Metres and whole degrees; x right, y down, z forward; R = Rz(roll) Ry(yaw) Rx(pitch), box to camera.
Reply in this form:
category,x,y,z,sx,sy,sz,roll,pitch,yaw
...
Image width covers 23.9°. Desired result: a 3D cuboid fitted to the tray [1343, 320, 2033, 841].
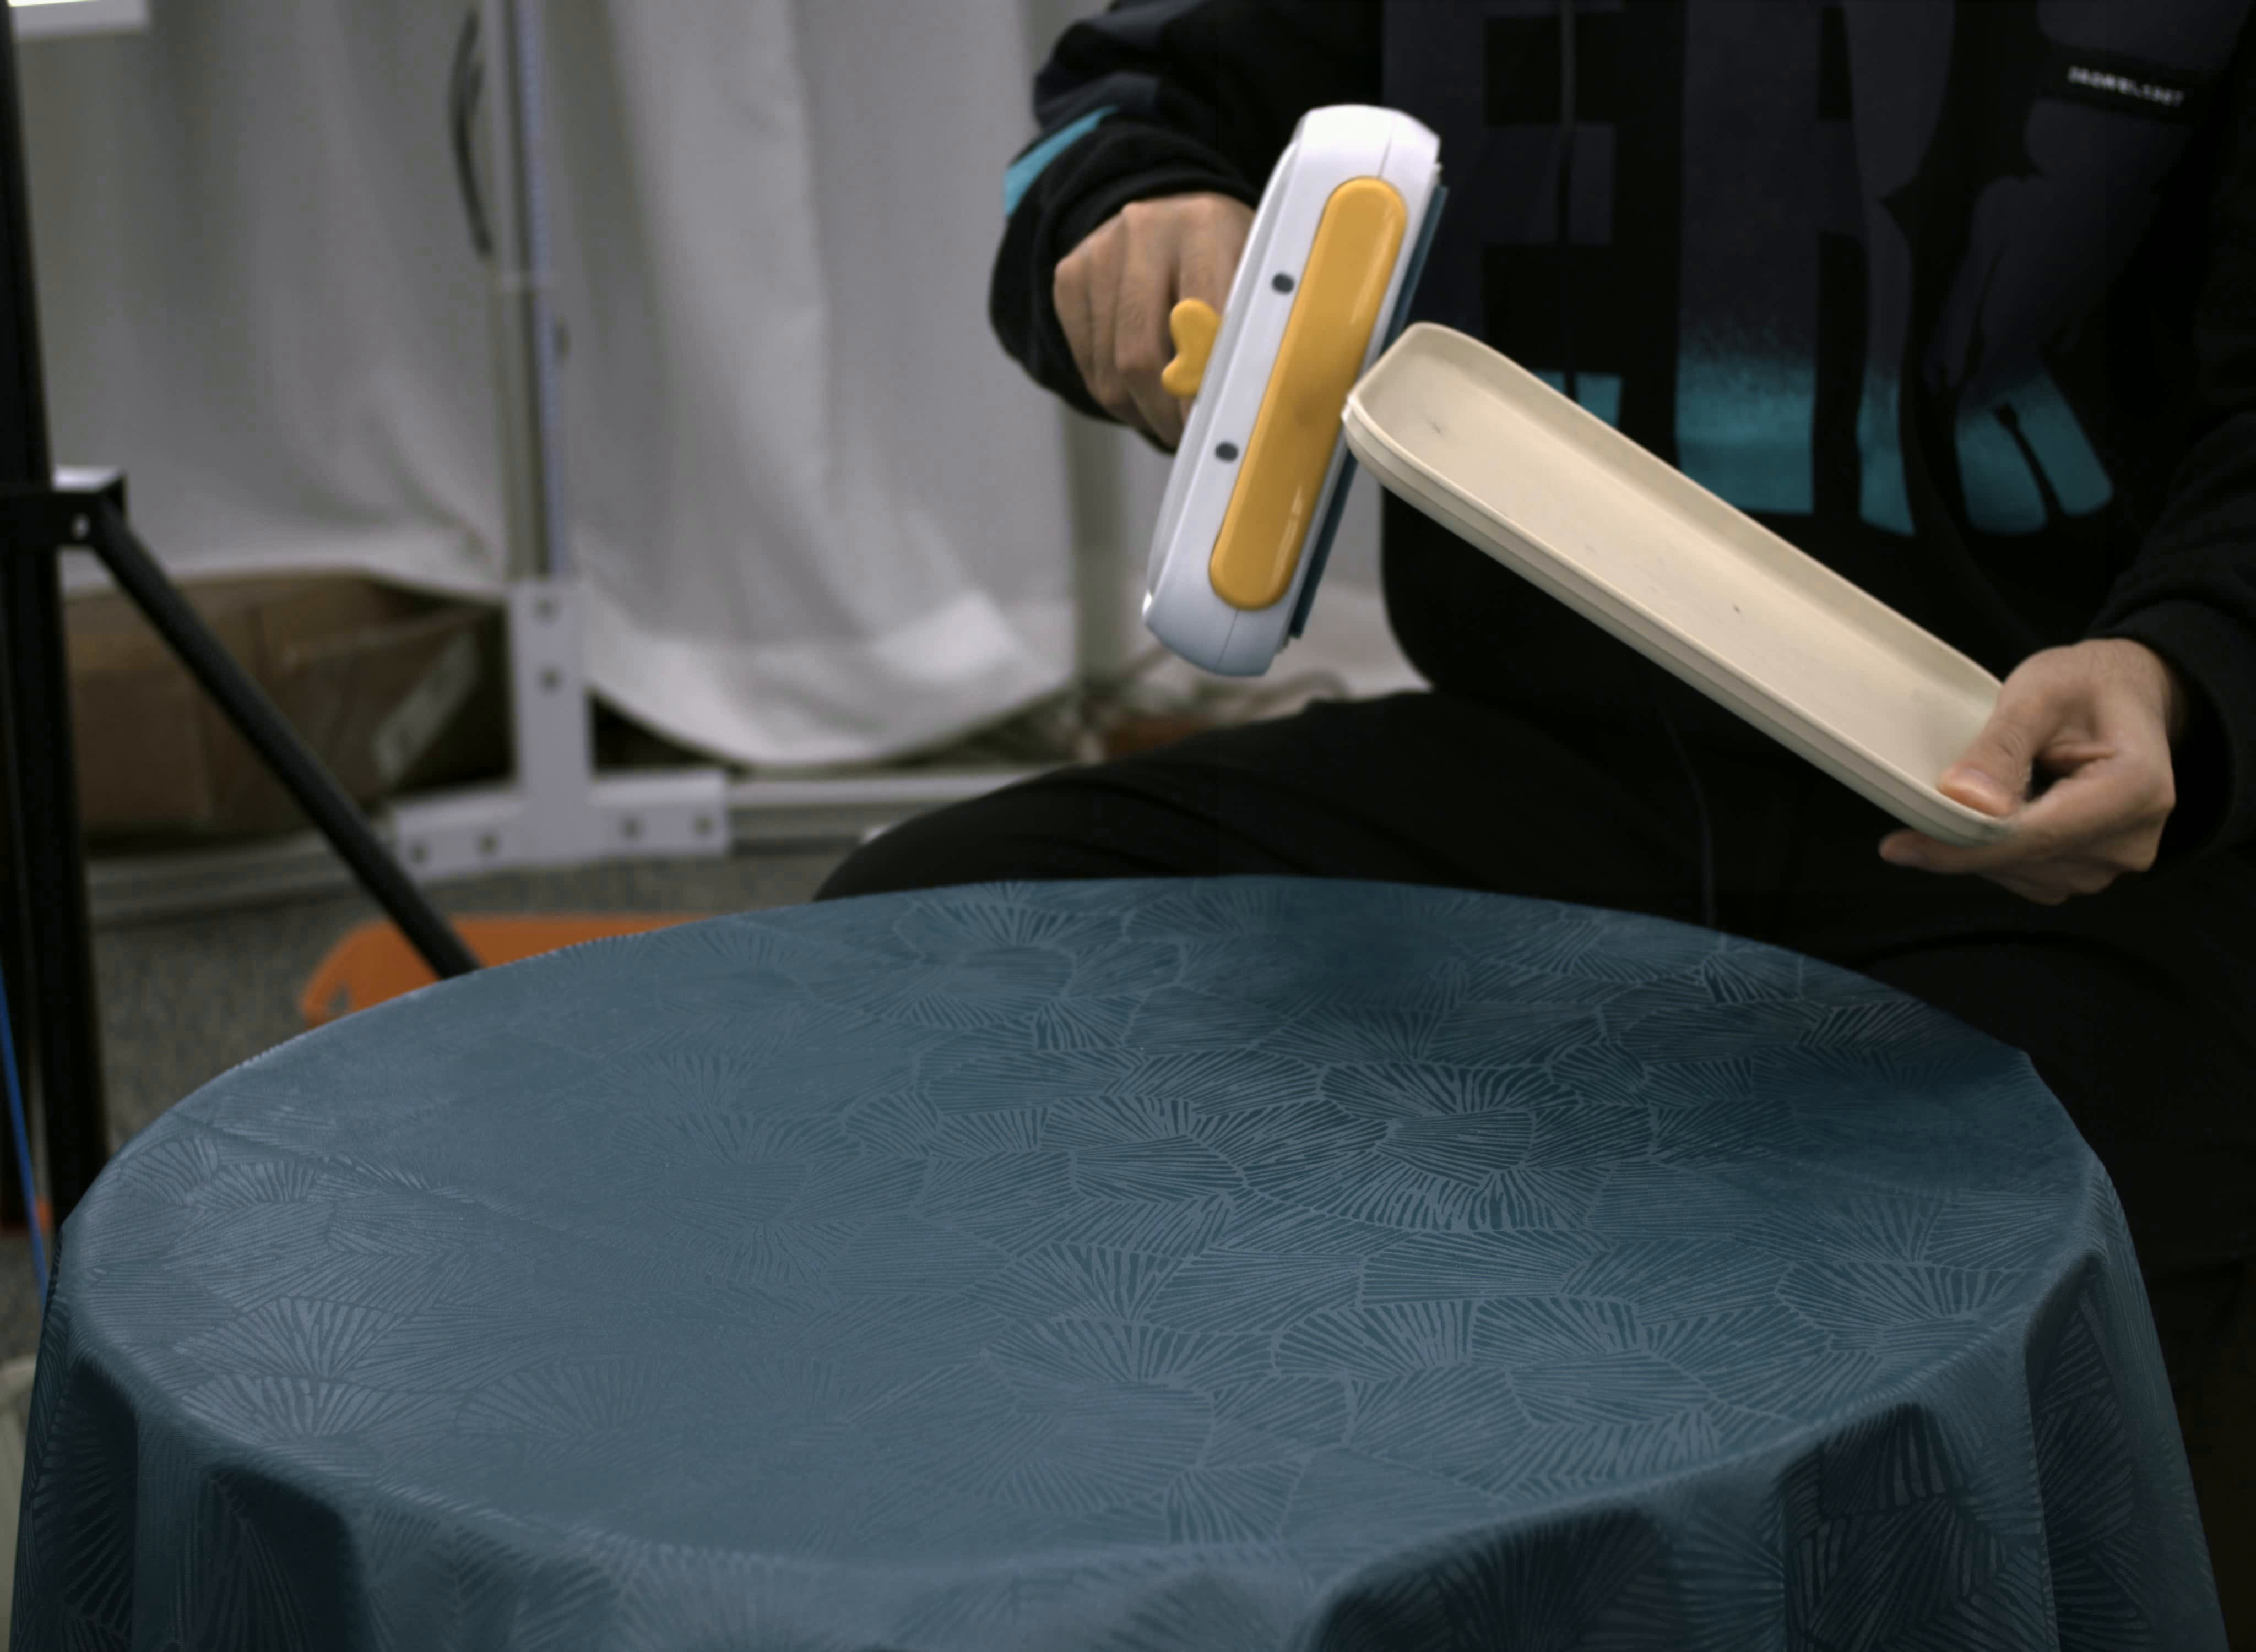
category,x,y,z,sx,sy,sz,roll,pitch,yaw
tray,0.174,-0.075,1.639,0.240,0.017,0.170,33,18,5

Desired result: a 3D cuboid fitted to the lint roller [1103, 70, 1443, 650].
category,x,y,z,sx,sy,sz,roll,pitch,yaw
lint roller,0.038,-0.158,1.807,0.073,0.194,0.194,13,1,-11
